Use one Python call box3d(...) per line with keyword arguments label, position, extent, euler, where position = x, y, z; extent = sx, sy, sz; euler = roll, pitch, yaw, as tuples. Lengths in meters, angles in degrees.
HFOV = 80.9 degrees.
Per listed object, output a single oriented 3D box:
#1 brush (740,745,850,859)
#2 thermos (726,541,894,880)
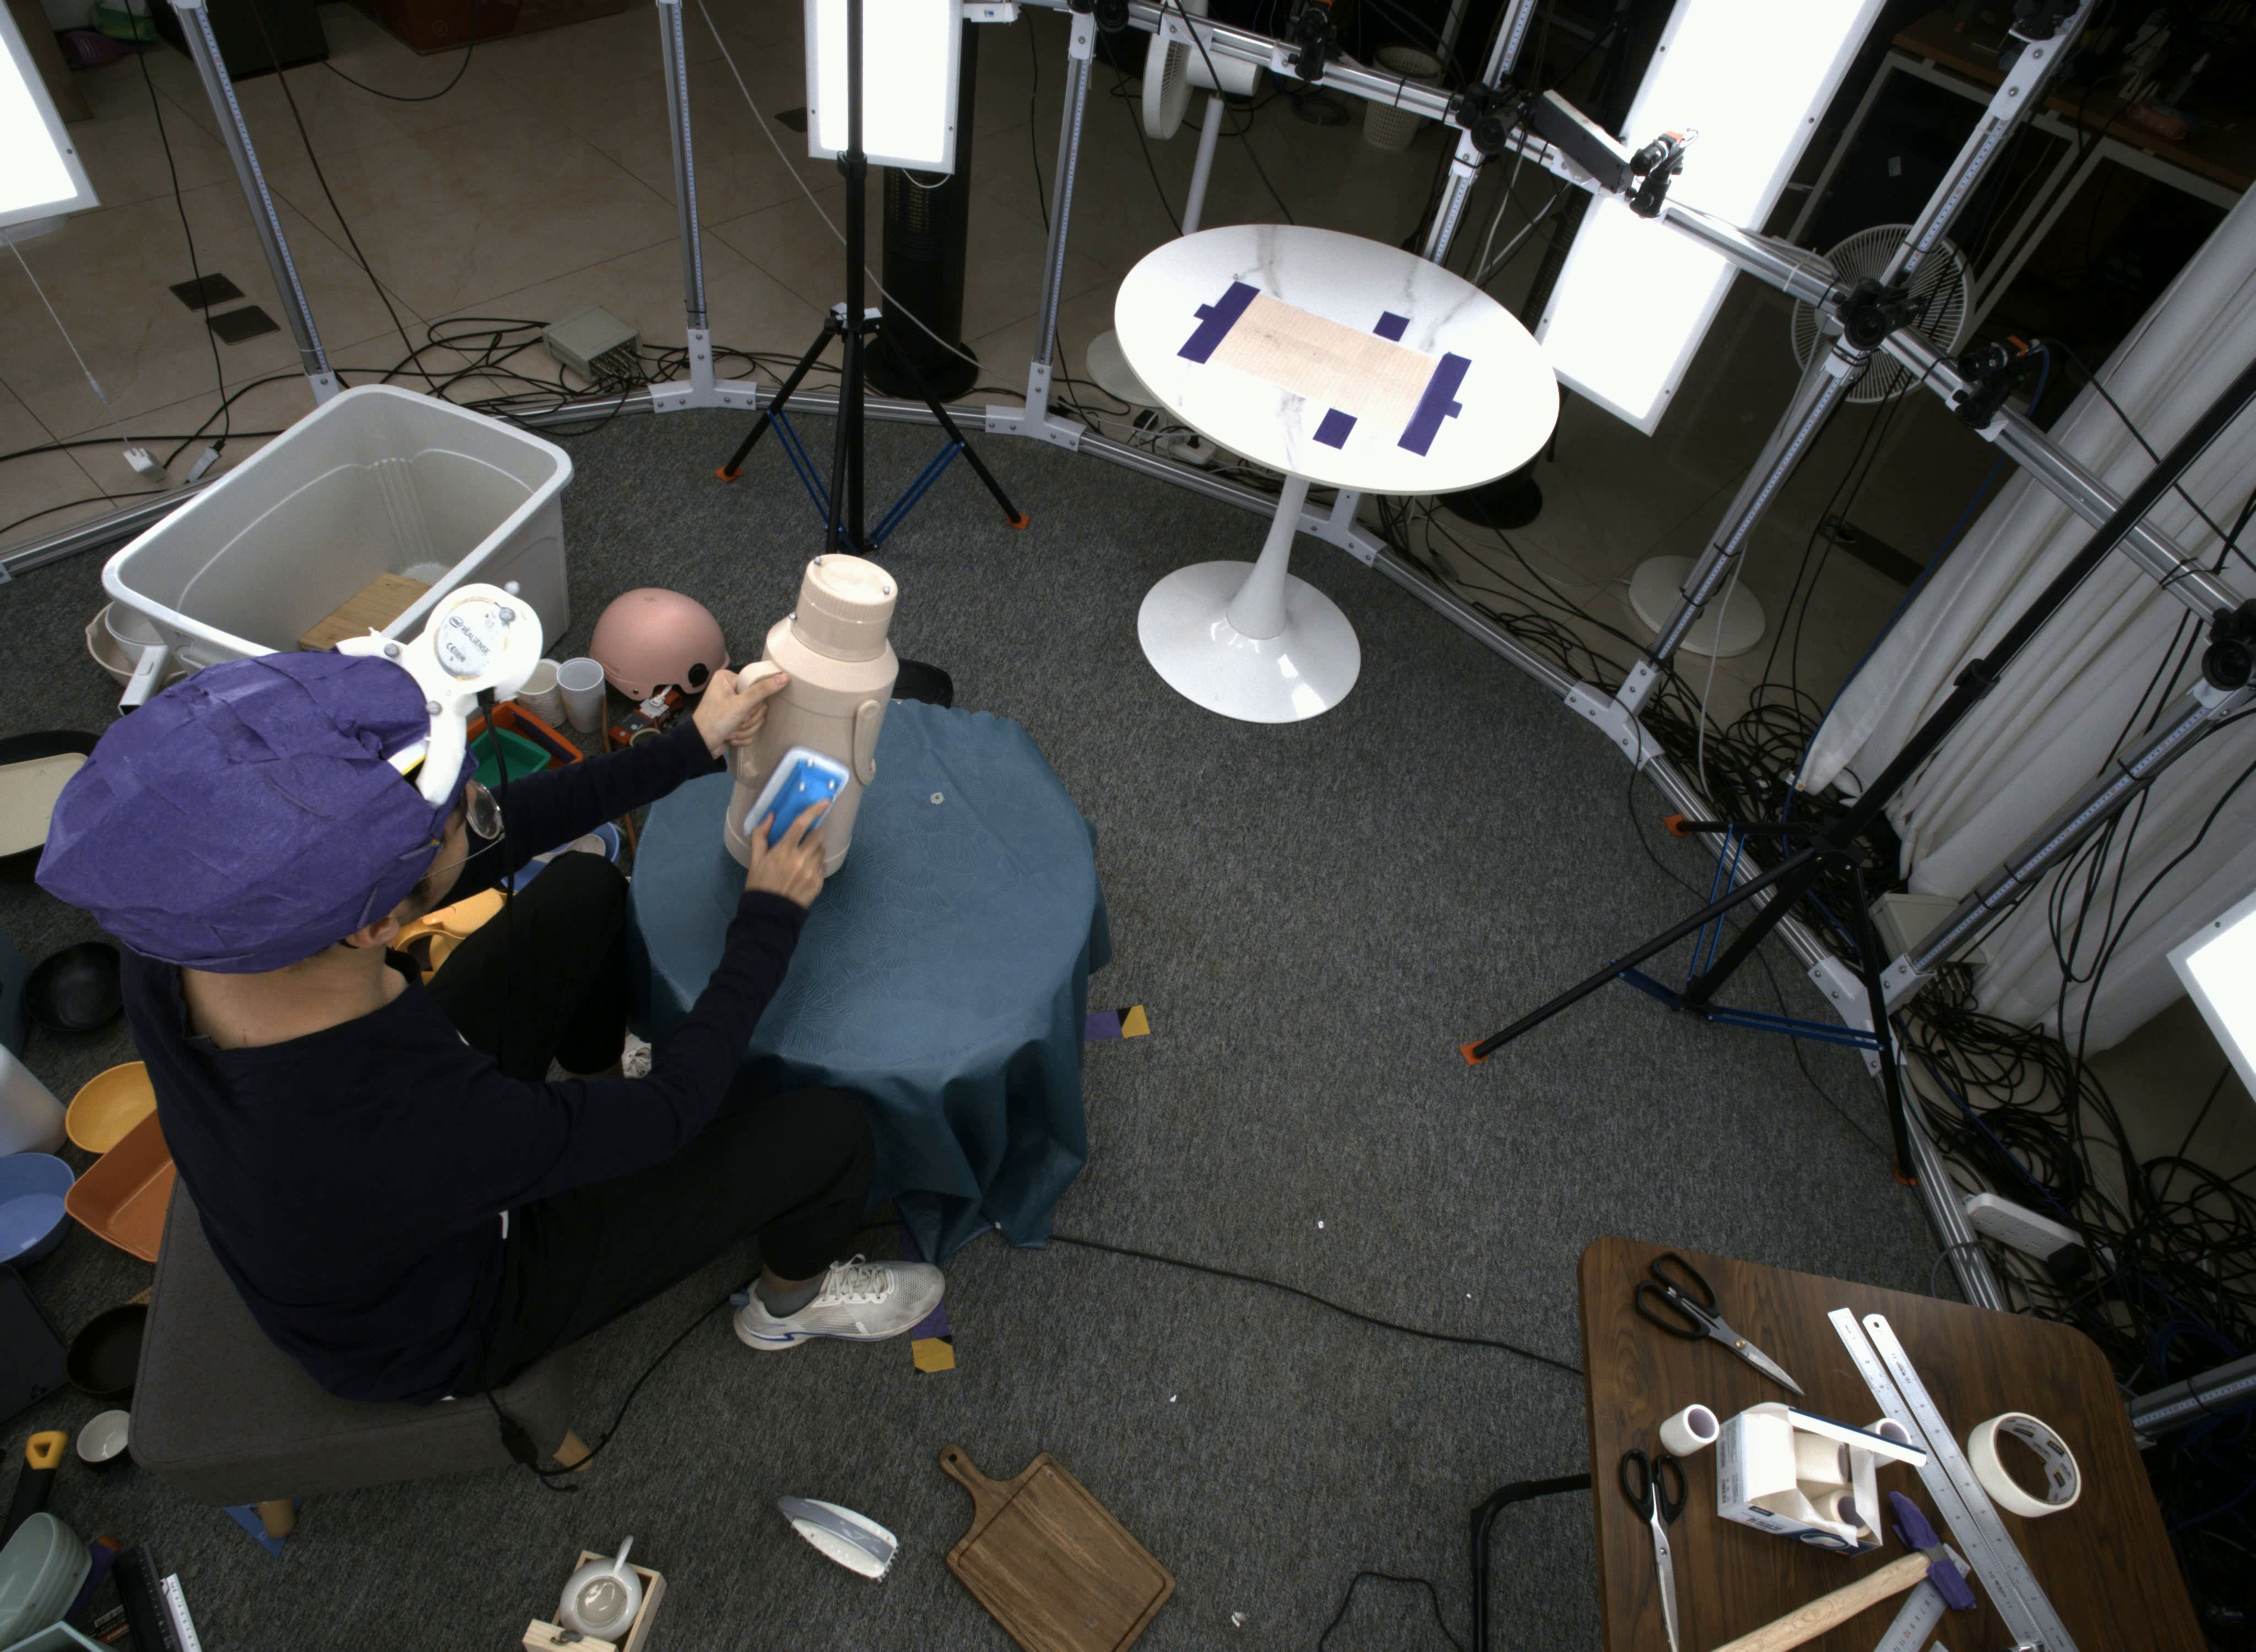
box3d(label="brush", position=(-0.392, -0.021, 1.515), extent=(0.086, 0.144, 0.054), euler=(28, 24, -27))
box3d(label="thermos", position=(-0.390, -0.133, 1.554), extent=(0.170, 0.413, 0.209), euler=(43, 40, 24))
